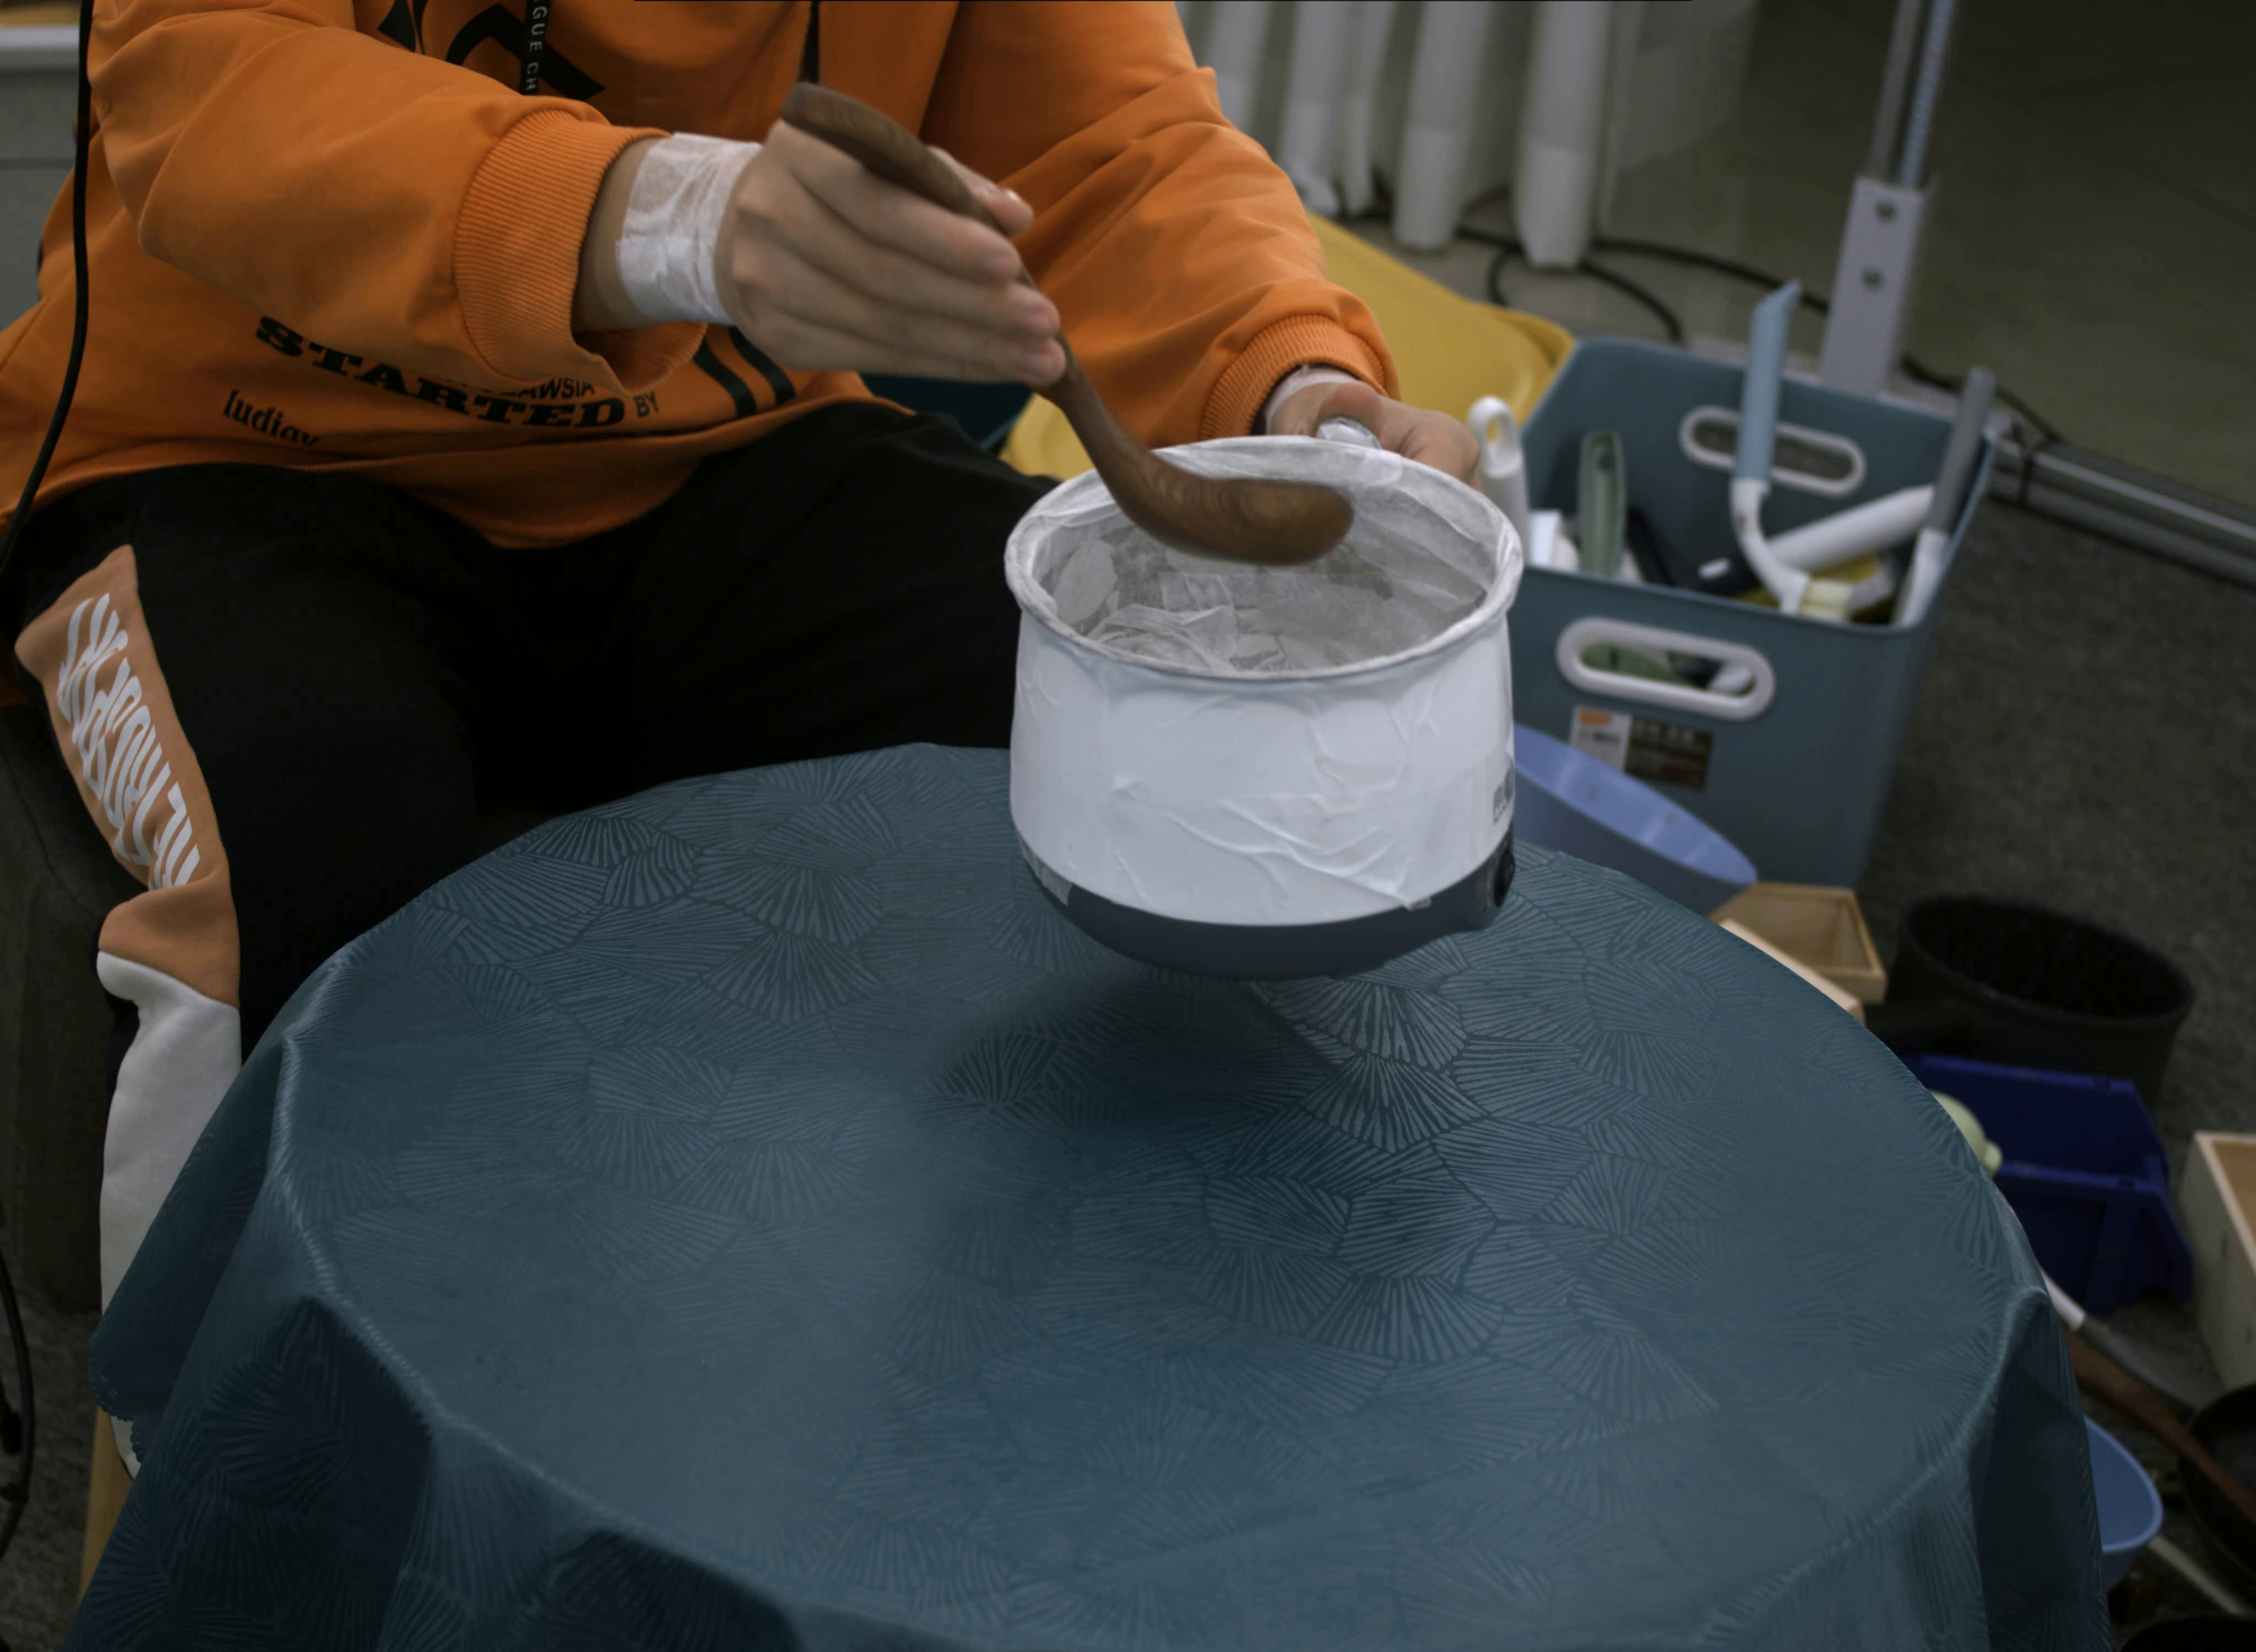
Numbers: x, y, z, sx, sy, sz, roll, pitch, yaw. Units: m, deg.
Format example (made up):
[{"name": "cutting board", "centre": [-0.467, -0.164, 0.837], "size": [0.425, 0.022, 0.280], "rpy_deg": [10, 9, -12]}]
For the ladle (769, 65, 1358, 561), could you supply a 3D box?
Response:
[{"name": "ladle", "centre": [-0.019, -0.170, 1.714], "size": [0.077, 0.258, 0.065], "rpy_deg": [0, 51, 49]}]

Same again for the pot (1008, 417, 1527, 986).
[{"name": "pot", "centre": [0.055, -0.051, 1.867], "size": [0.179, 0.136, 0.234], "rpy_deg": [8, 31, 14]}]
